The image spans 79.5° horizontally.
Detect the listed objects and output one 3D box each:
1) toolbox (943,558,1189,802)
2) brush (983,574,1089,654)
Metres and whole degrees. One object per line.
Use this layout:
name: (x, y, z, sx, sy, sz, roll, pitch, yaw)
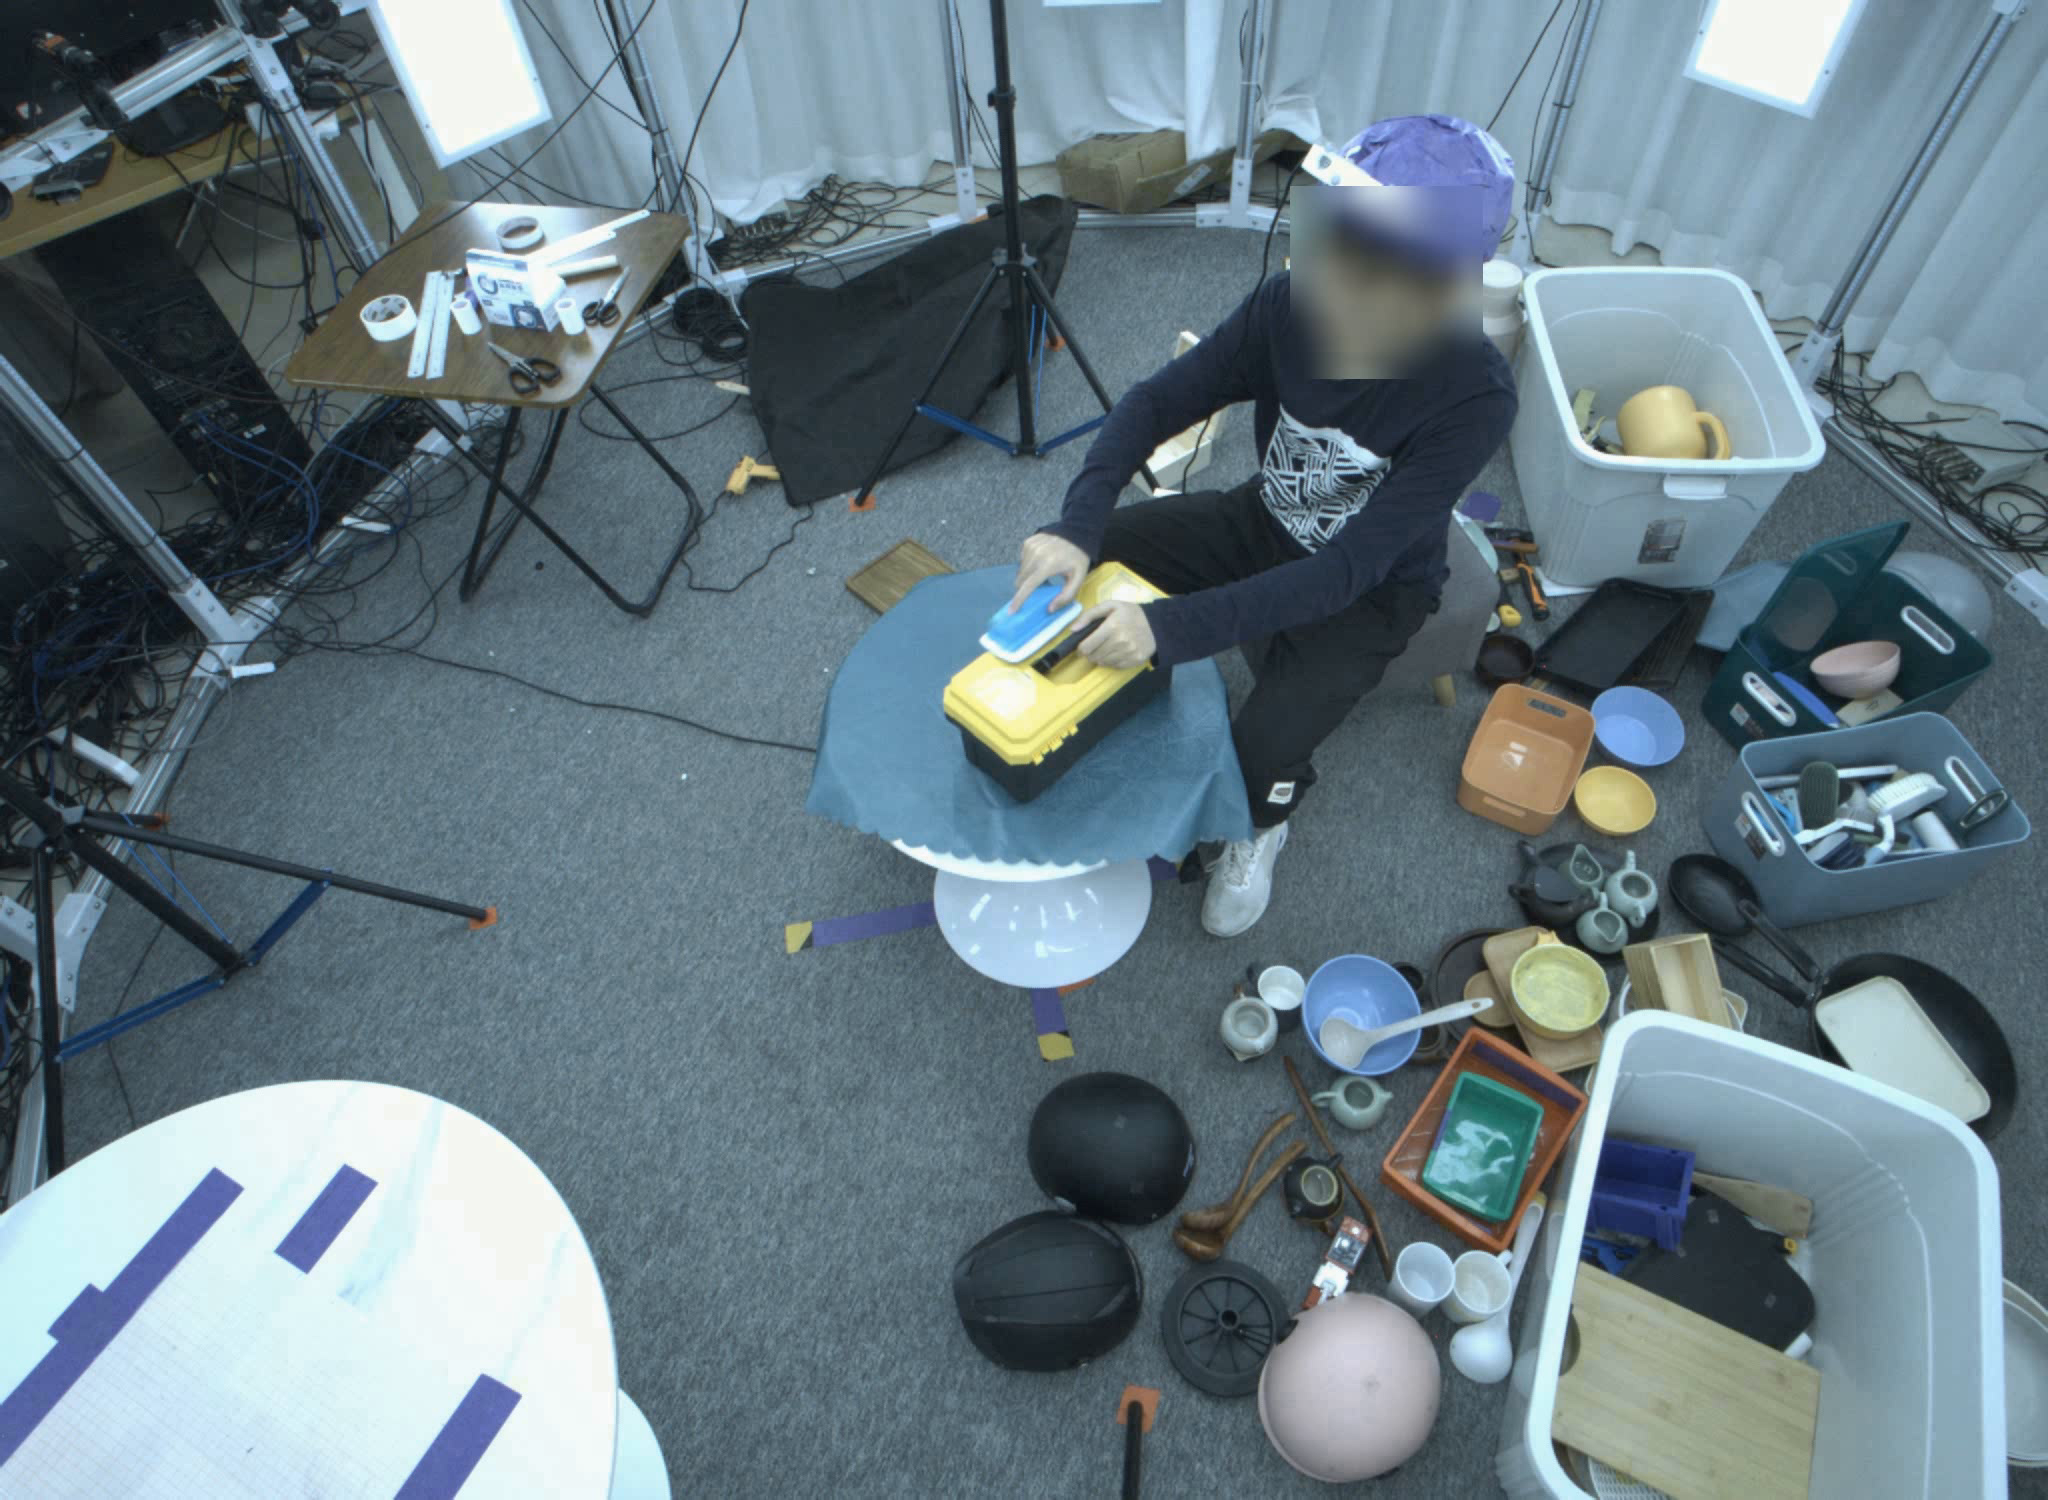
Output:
toolbox: (0.063, -0.099, 1.738, 0.354, 0.175, 0.178, -40, 61, -22)
brush: (0.015, -0.193, 1.674, 0.145, 0.057, 0.082, -37, 52, -21)
